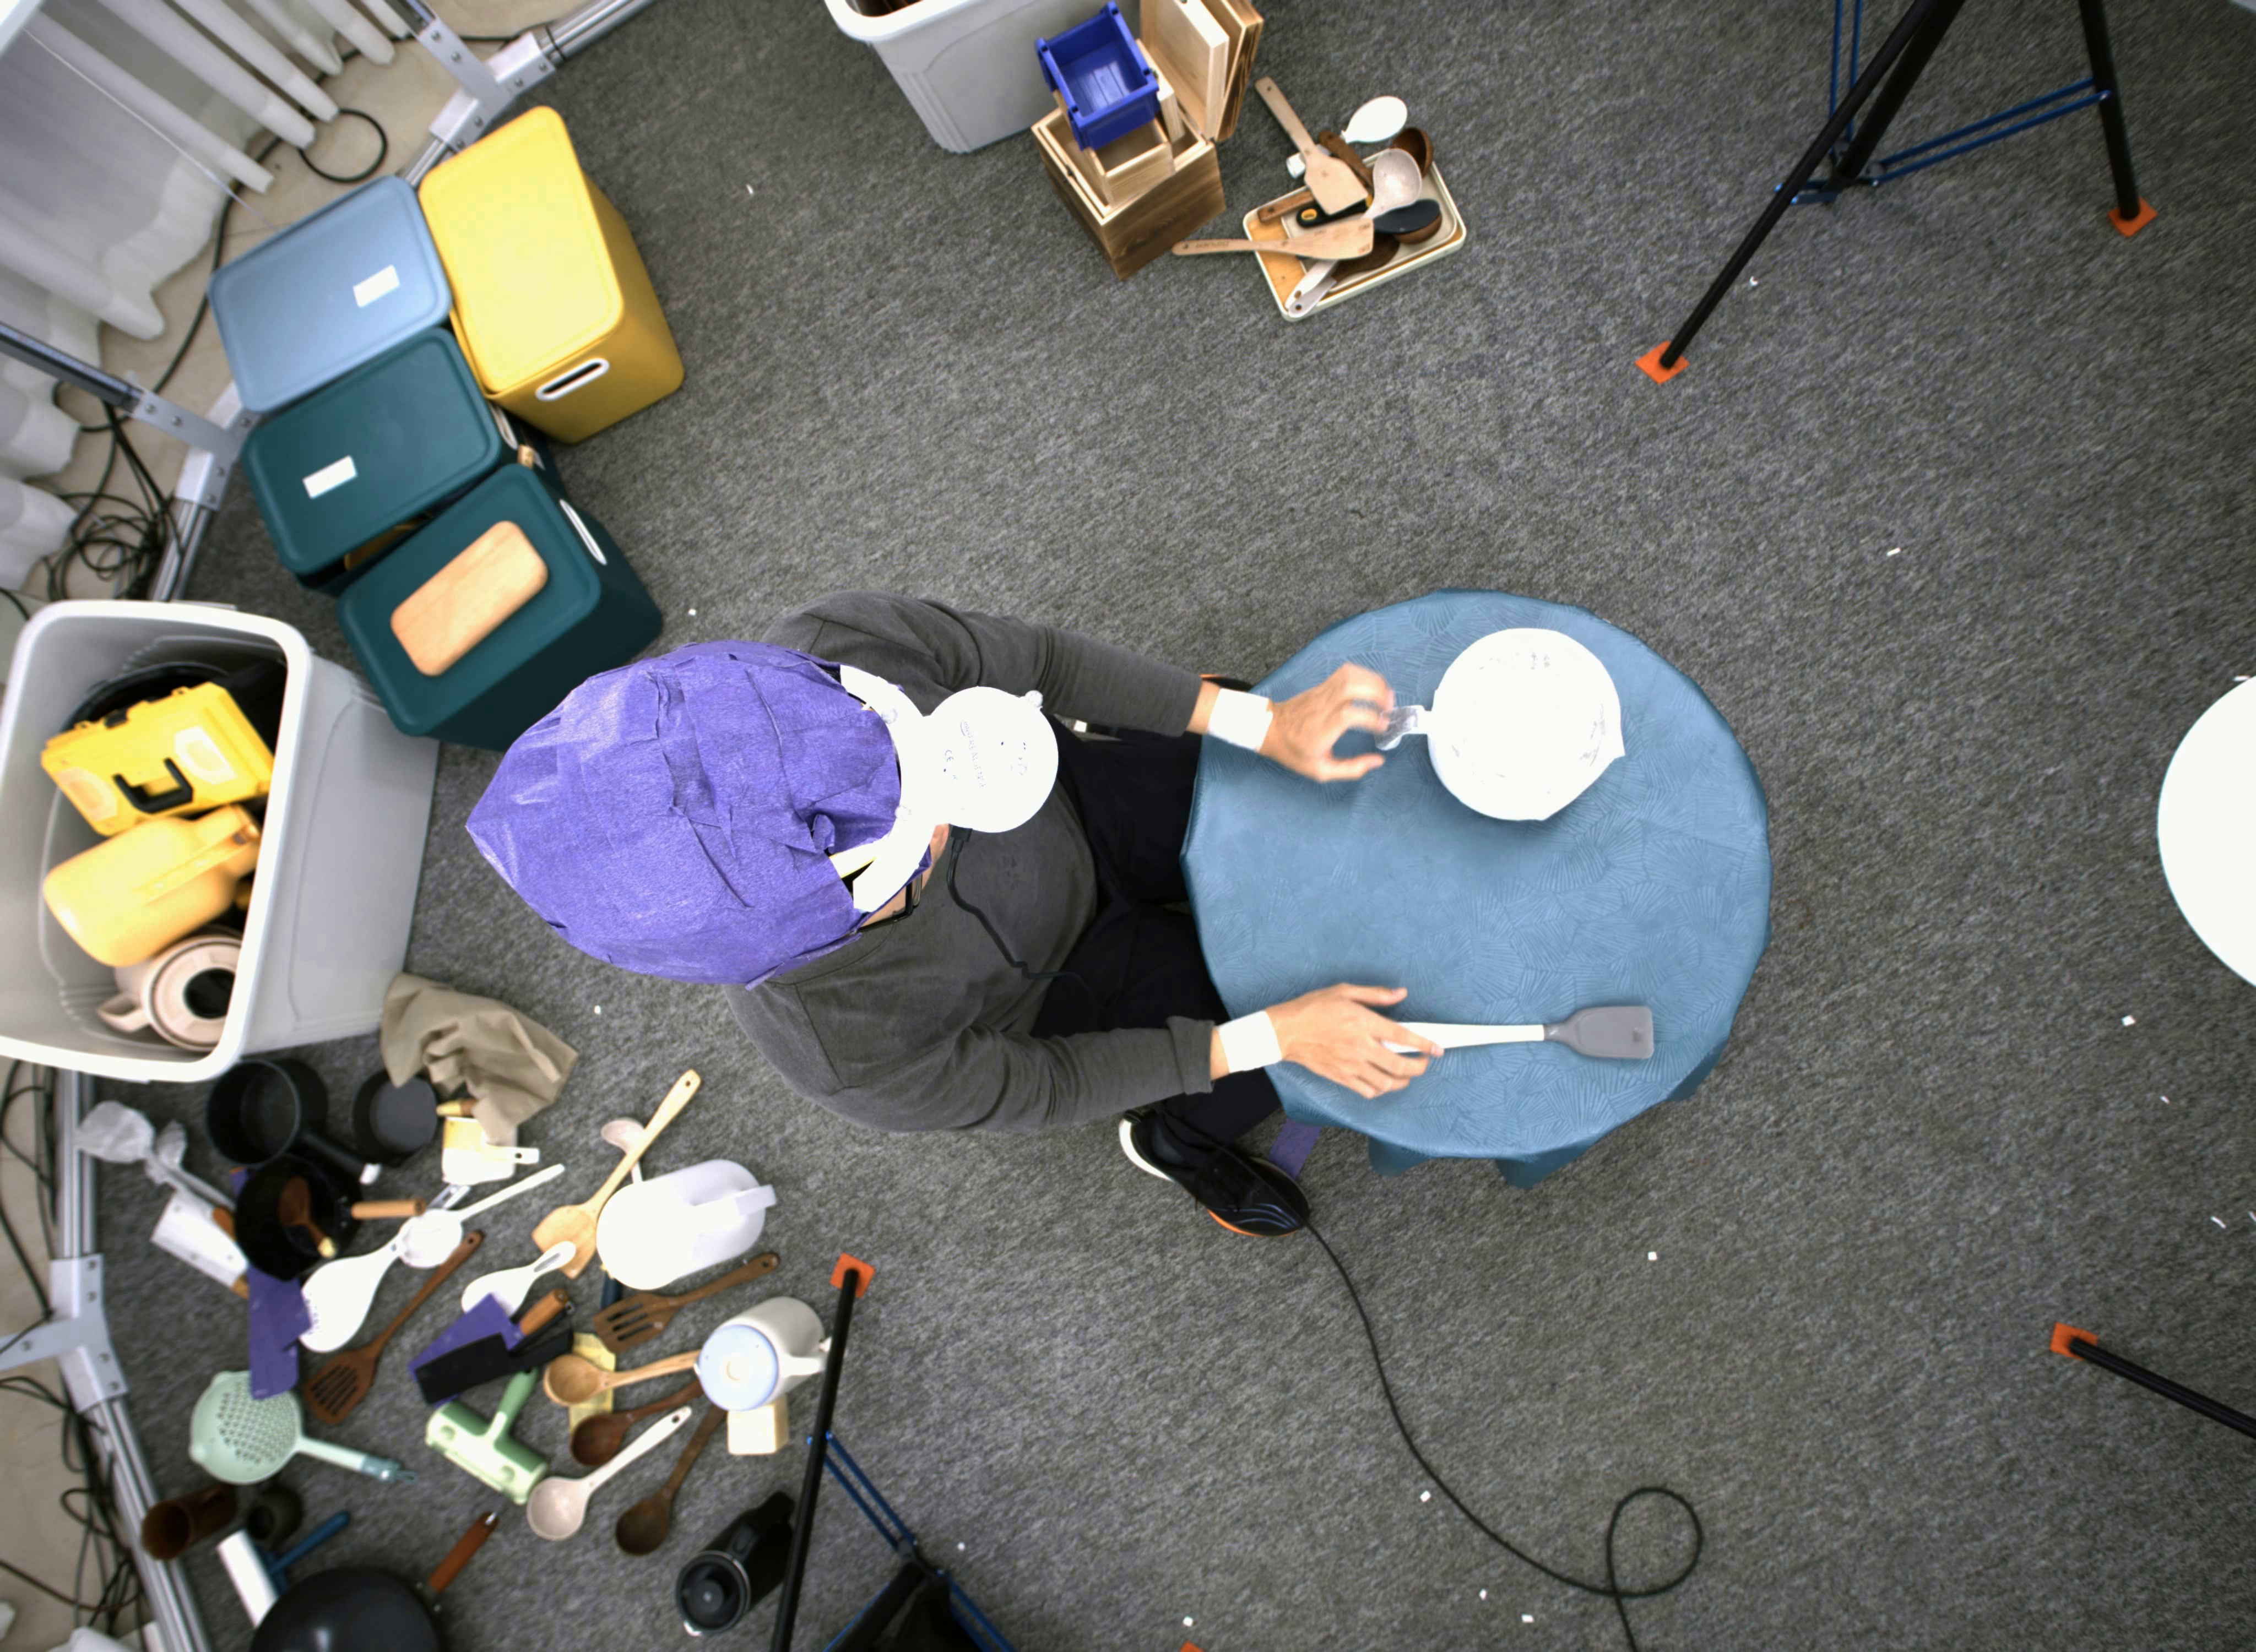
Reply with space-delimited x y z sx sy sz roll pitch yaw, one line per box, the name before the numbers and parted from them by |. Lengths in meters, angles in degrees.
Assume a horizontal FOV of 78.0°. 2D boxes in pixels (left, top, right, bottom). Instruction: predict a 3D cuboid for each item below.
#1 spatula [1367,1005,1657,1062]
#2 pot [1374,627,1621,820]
spatula | 0.391 0.212 1.412 0.289 0.032 0.058 -3 82 11
pot | 0.366 -0.100 1.382 0.234 0.137 0.178 1 85 11
